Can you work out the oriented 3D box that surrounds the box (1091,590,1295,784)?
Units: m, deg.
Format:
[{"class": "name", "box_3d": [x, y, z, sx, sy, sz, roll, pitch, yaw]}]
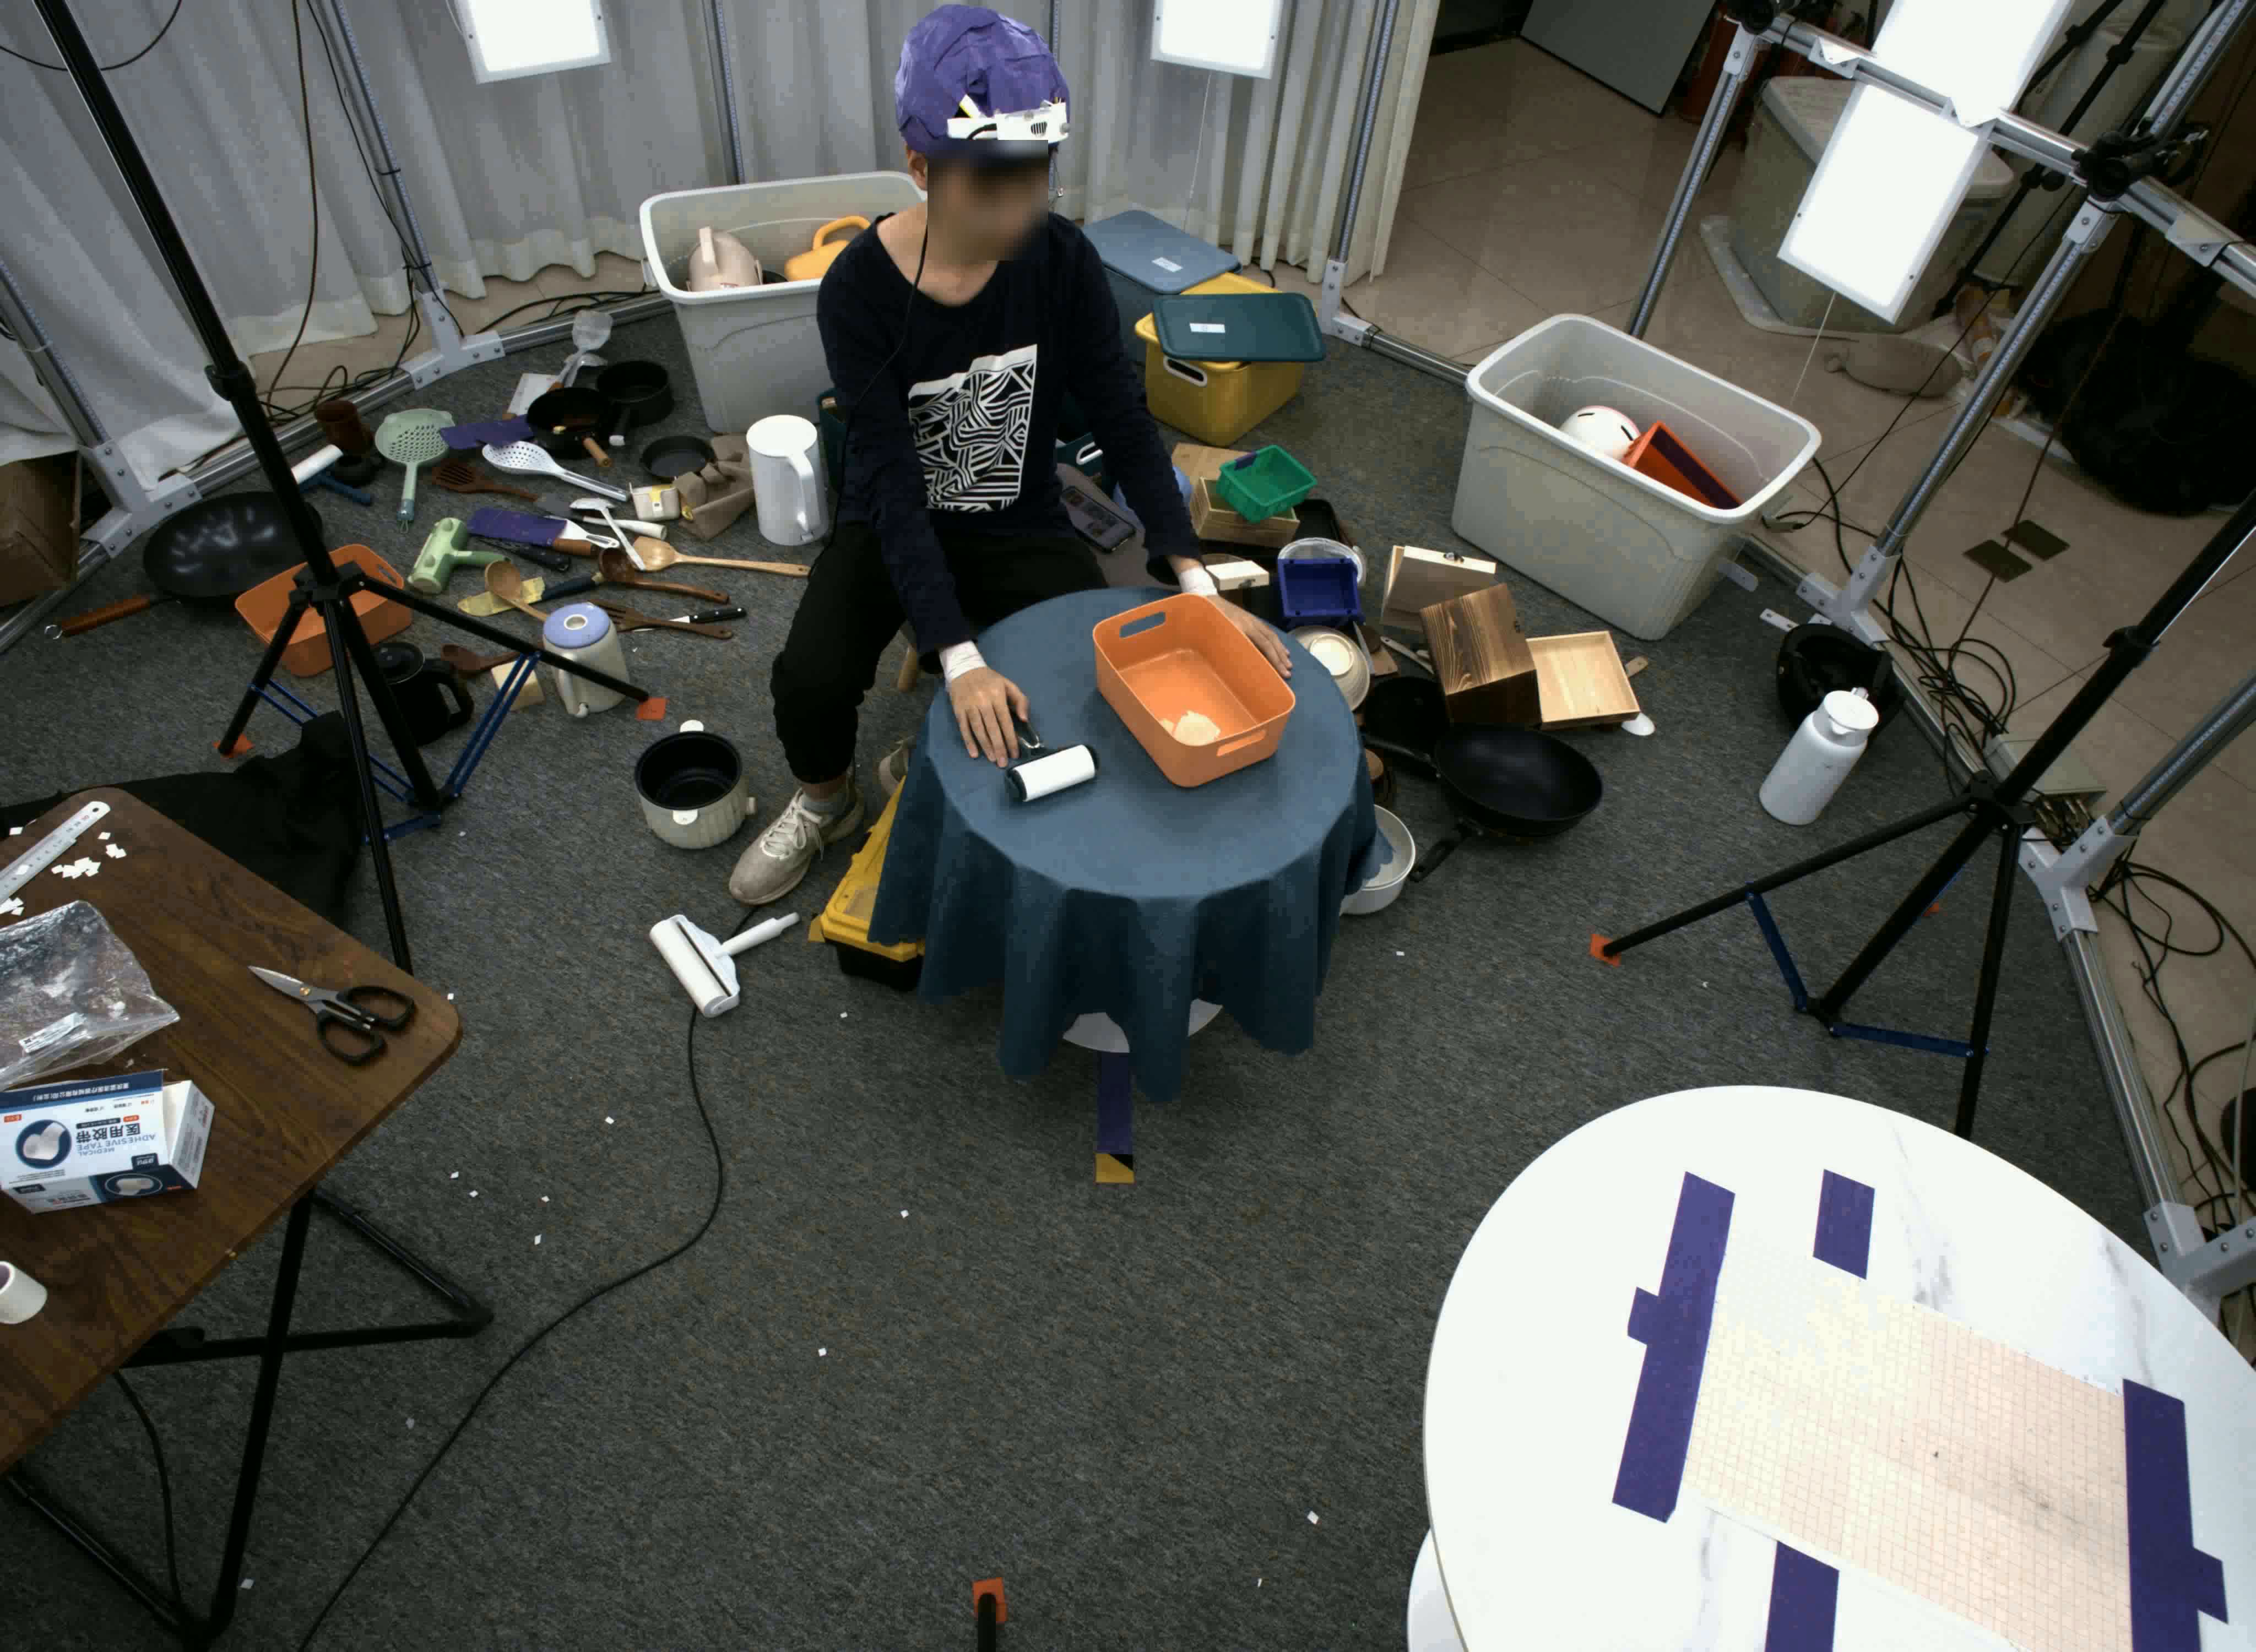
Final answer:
[{"class": "box", "box_3d": [0.082, -0.189, 1.768, 0.200, 0.100, 0.279, -22, 54, -22]}]

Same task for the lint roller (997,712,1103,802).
[{"class": "lint roller", "box_3d": [-0.132, -0.114, 1.732, 0.134, 0.047, 0.184, -21, 50, -20]}]
